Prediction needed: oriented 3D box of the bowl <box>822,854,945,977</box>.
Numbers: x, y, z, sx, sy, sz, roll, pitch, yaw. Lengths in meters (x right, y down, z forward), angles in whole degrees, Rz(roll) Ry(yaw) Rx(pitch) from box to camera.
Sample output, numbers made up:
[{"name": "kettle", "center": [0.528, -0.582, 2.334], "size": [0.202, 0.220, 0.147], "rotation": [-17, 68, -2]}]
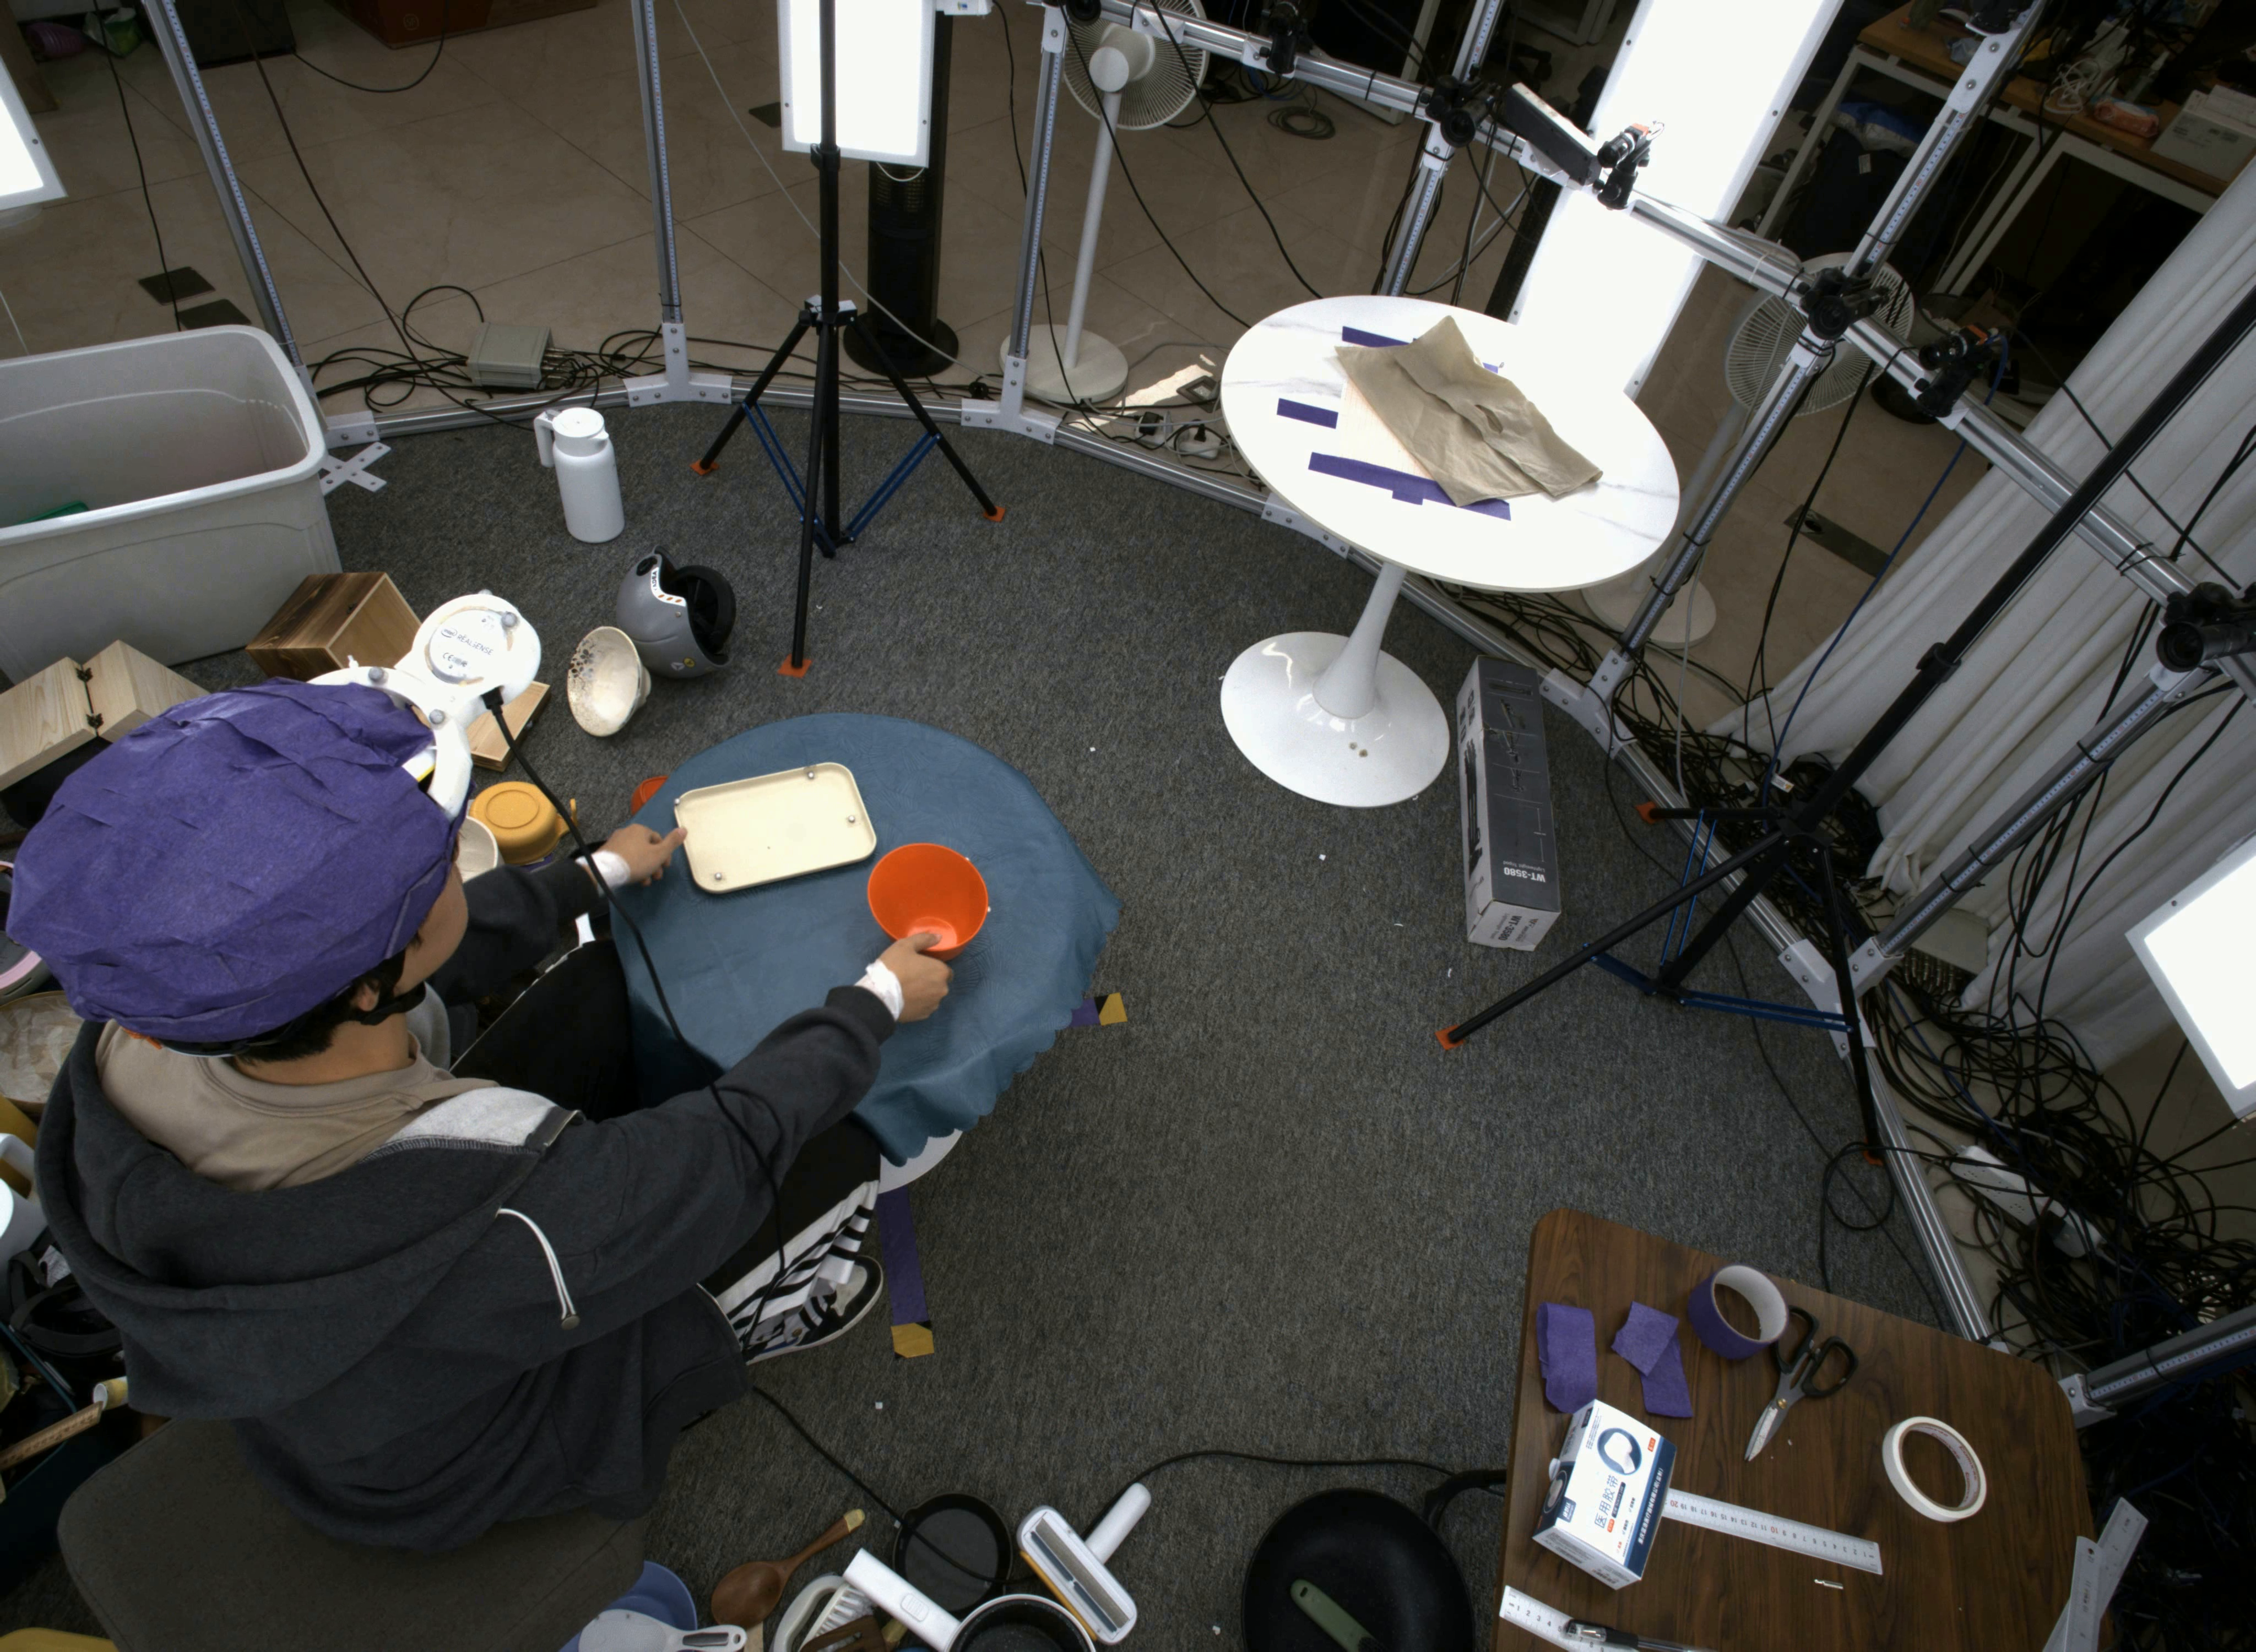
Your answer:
[{"name": "bowl", "center": [-0.301, 0.122, 1.605], "size": [0.147, 0.107, 0.145], "rotation": [8, 50, -8]}]

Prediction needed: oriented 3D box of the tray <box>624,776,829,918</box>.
[{"name": "tray", "center": [-0.521, 0.024, 1.675], "size": [0.241, 0.018, 0.167], "rotation": [-17, 60, -25]}]
